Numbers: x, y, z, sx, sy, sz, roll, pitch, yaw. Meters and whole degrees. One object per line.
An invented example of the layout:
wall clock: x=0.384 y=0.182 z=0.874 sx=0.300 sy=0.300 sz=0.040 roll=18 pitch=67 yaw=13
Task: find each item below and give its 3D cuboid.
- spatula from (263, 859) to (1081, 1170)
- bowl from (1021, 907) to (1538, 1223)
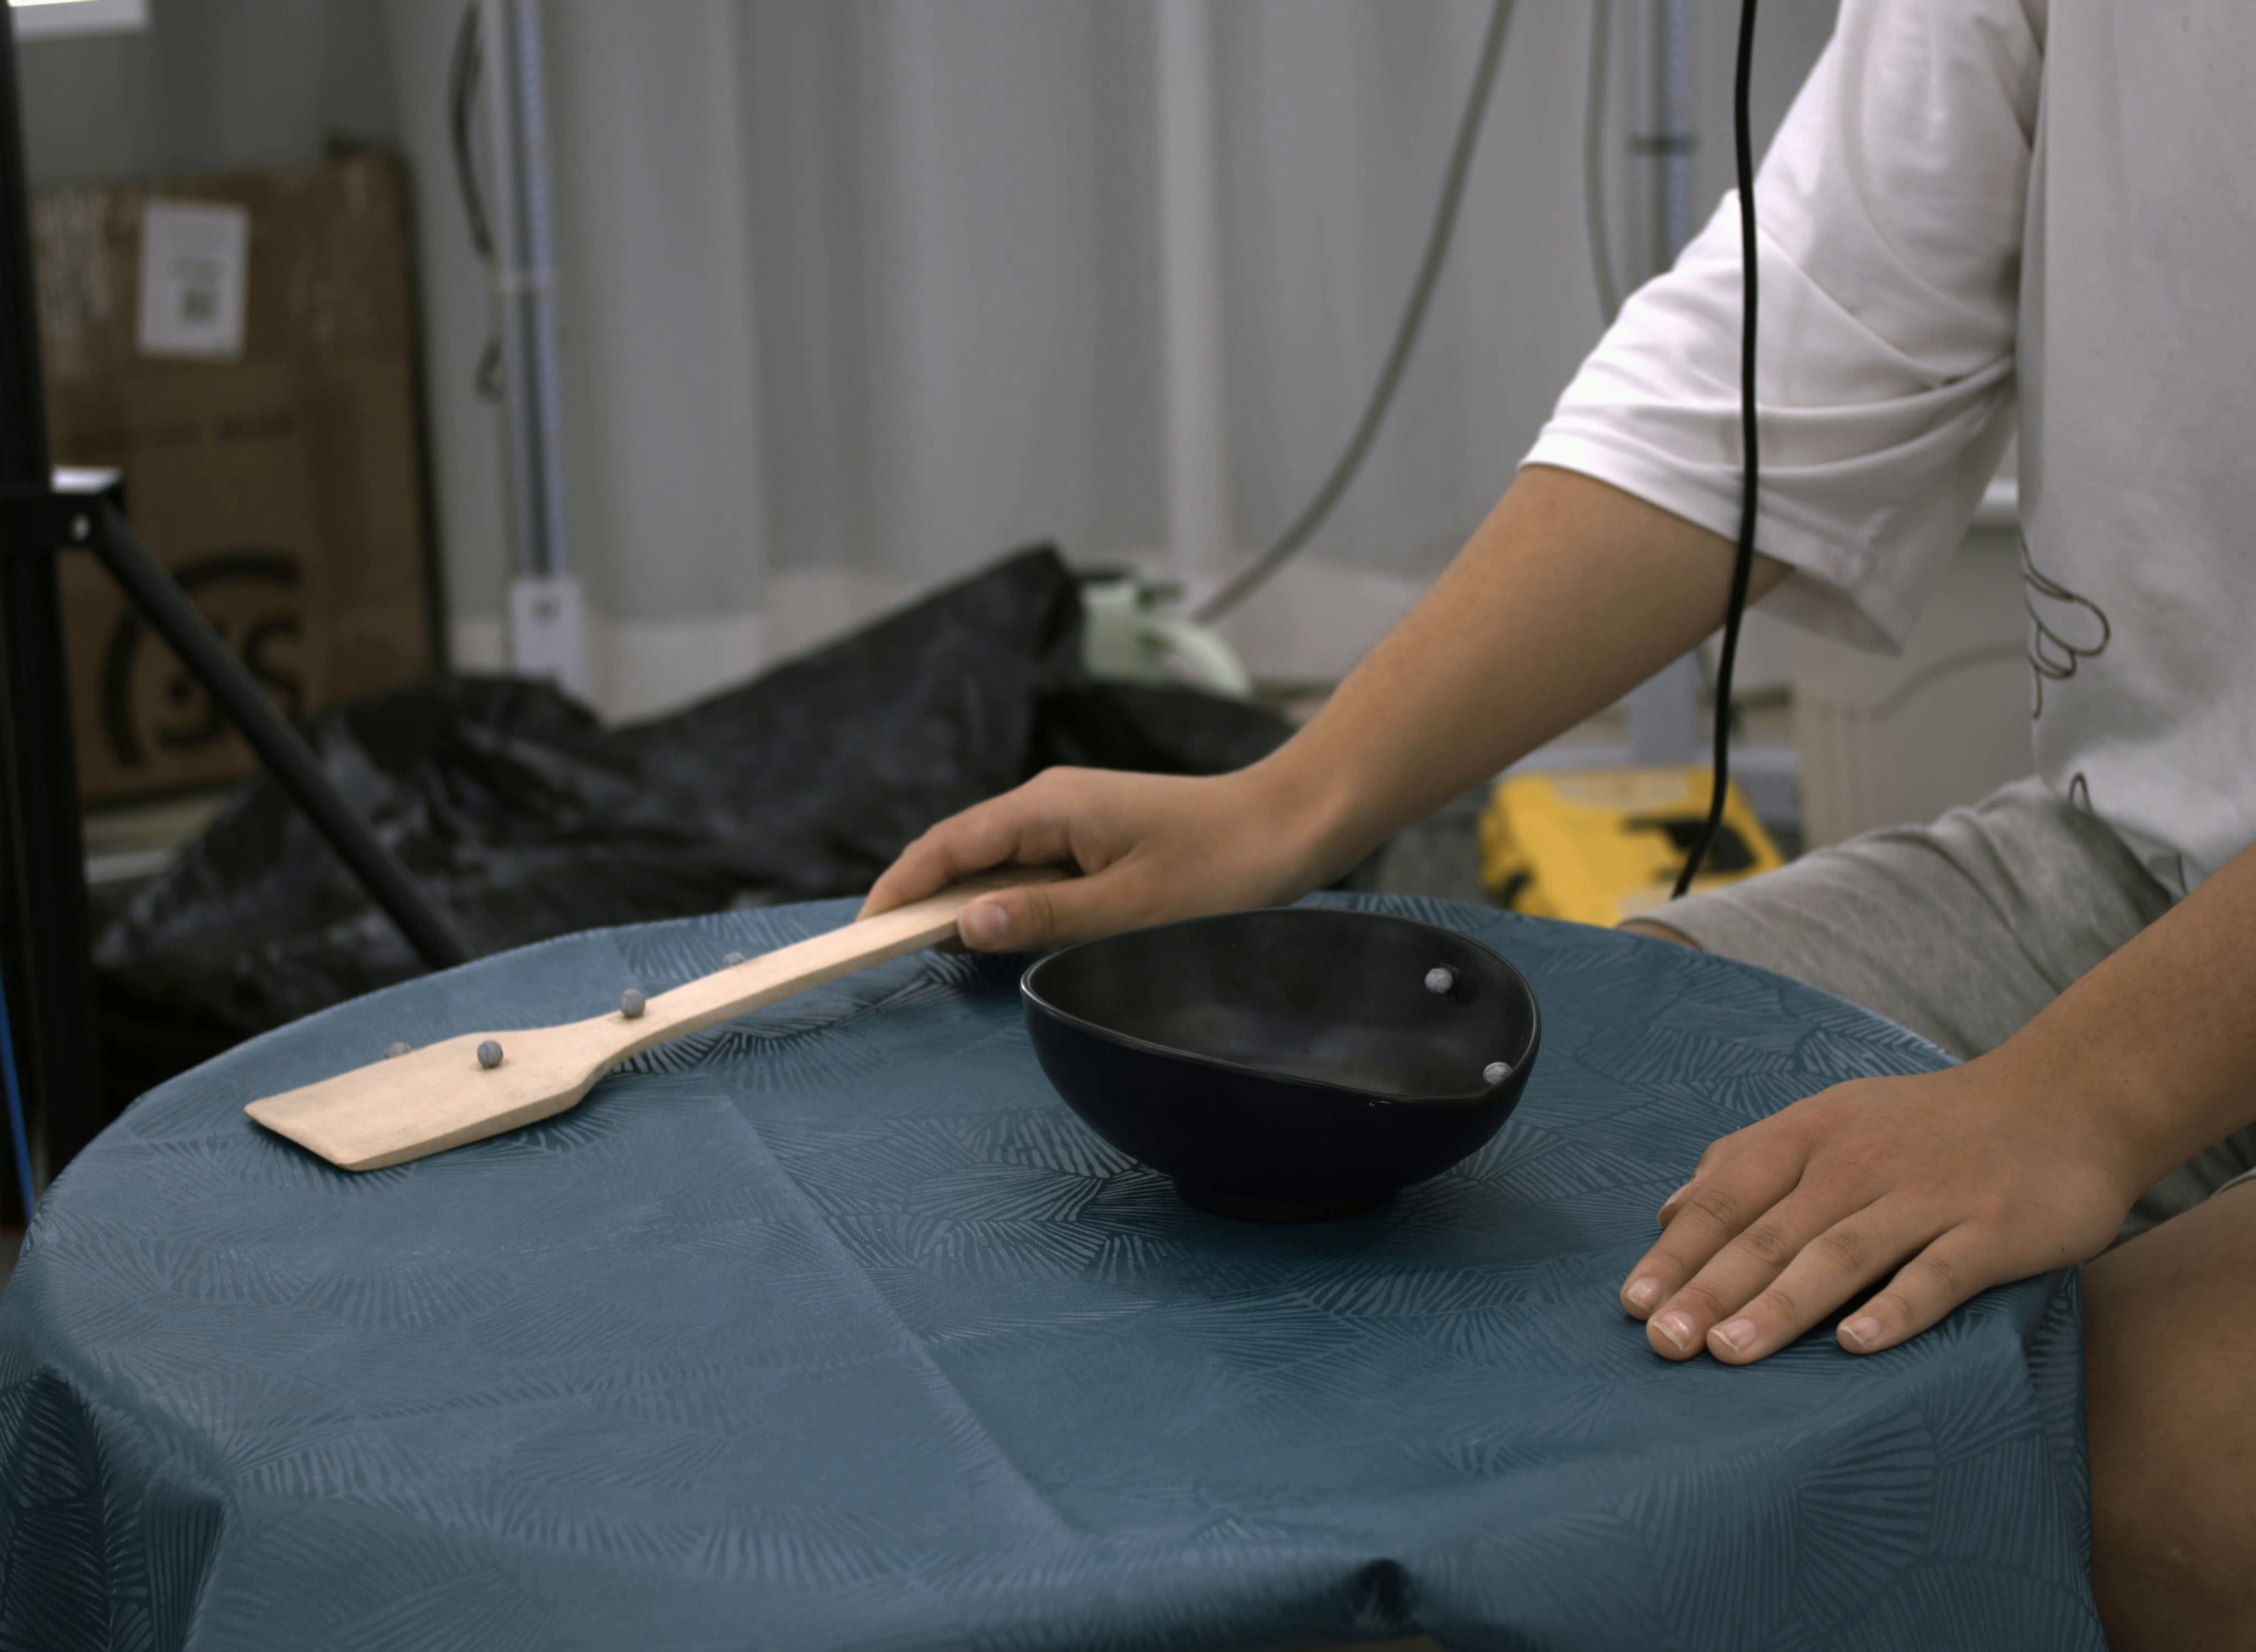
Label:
spatula: x=-0.136 y=0.056 z=1.706 sx=0.287 sy=0.010 sz=0.074 roll=-20 pitch=22 yaw=-31
bowl: x=0.045 y=0.074 z=1.554 sx=0.134 sy=0.066 sz=0.174 roll=-16 pitch=23 yaw=-41
